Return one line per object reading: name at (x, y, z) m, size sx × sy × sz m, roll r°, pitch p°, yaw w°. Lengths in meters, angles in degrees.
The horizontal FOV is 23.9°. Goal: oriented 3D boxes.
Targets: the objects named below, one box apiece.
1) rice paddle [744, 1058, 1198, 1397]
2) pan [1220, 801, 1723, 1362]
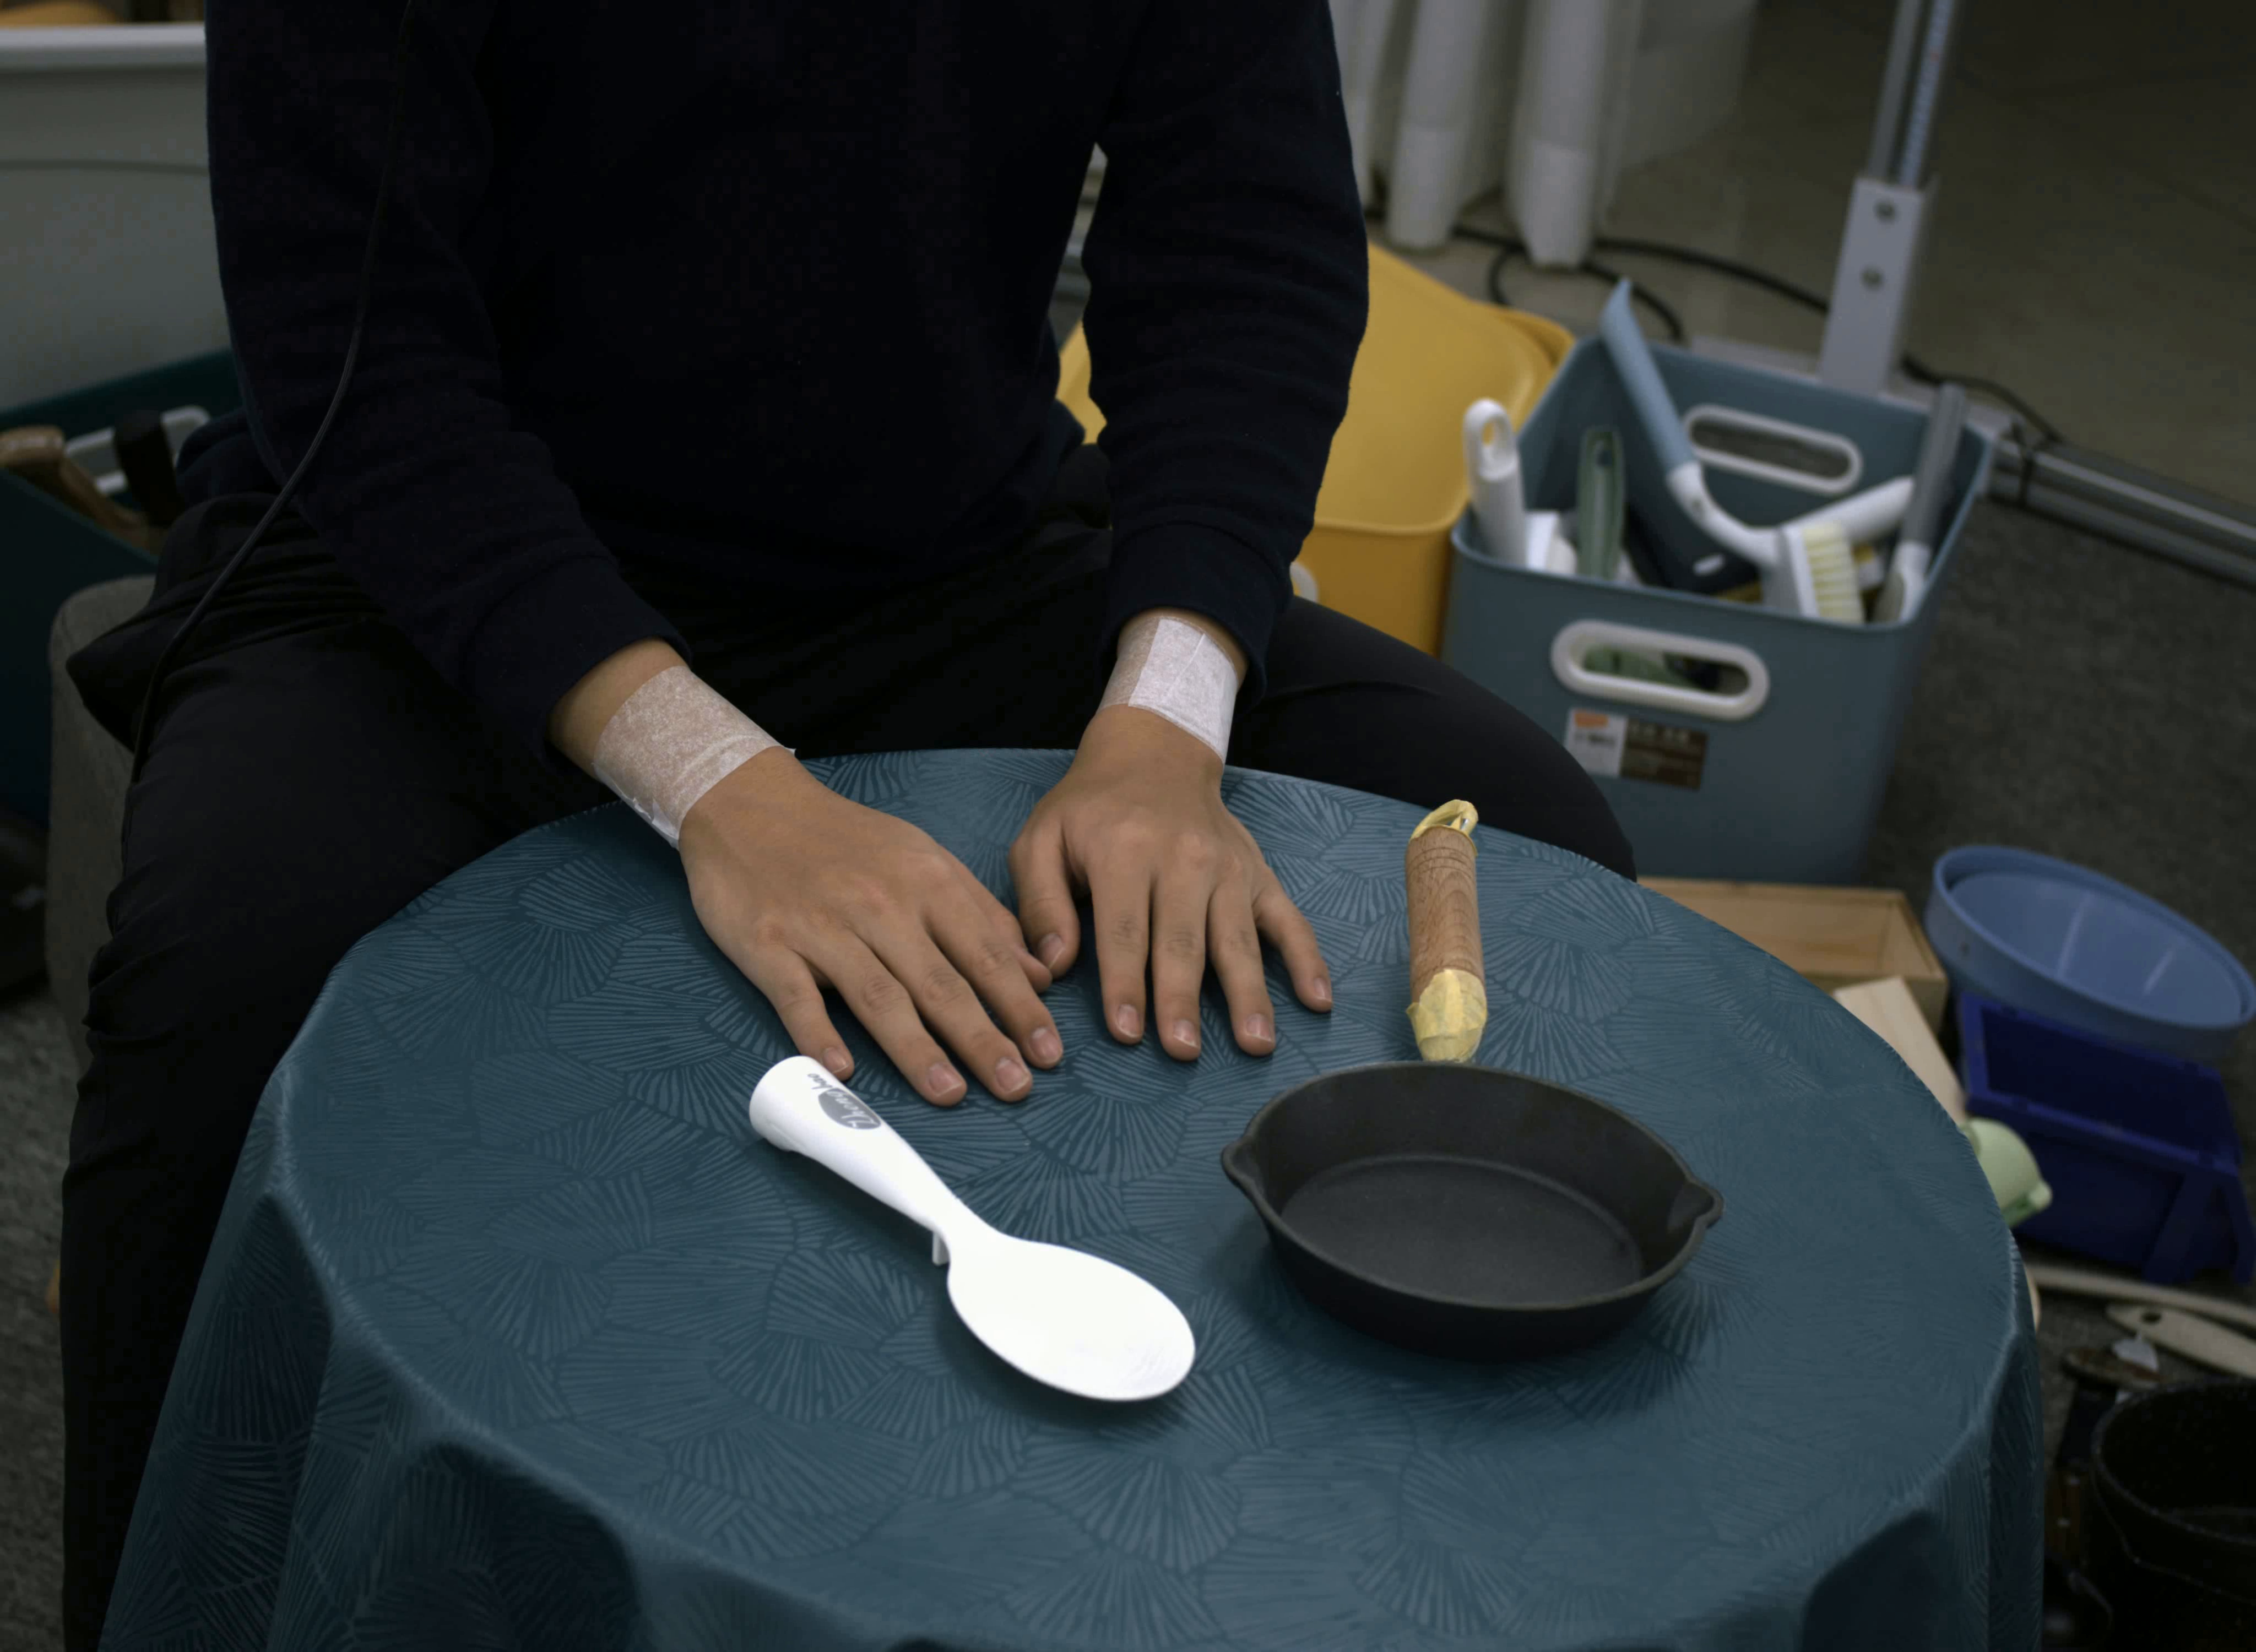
rice paddle at (-0.053, 0.133, 1.741) m, size 0.068 × 0.029 × 0.207 m, roll -17°, pitch 35°, yaw -36°
pan at (0.116, 0.085, 1.848) m, size 0.168 × 0.049 × 0.326 m, roll 6°, pitch 28°, yaw -1°
